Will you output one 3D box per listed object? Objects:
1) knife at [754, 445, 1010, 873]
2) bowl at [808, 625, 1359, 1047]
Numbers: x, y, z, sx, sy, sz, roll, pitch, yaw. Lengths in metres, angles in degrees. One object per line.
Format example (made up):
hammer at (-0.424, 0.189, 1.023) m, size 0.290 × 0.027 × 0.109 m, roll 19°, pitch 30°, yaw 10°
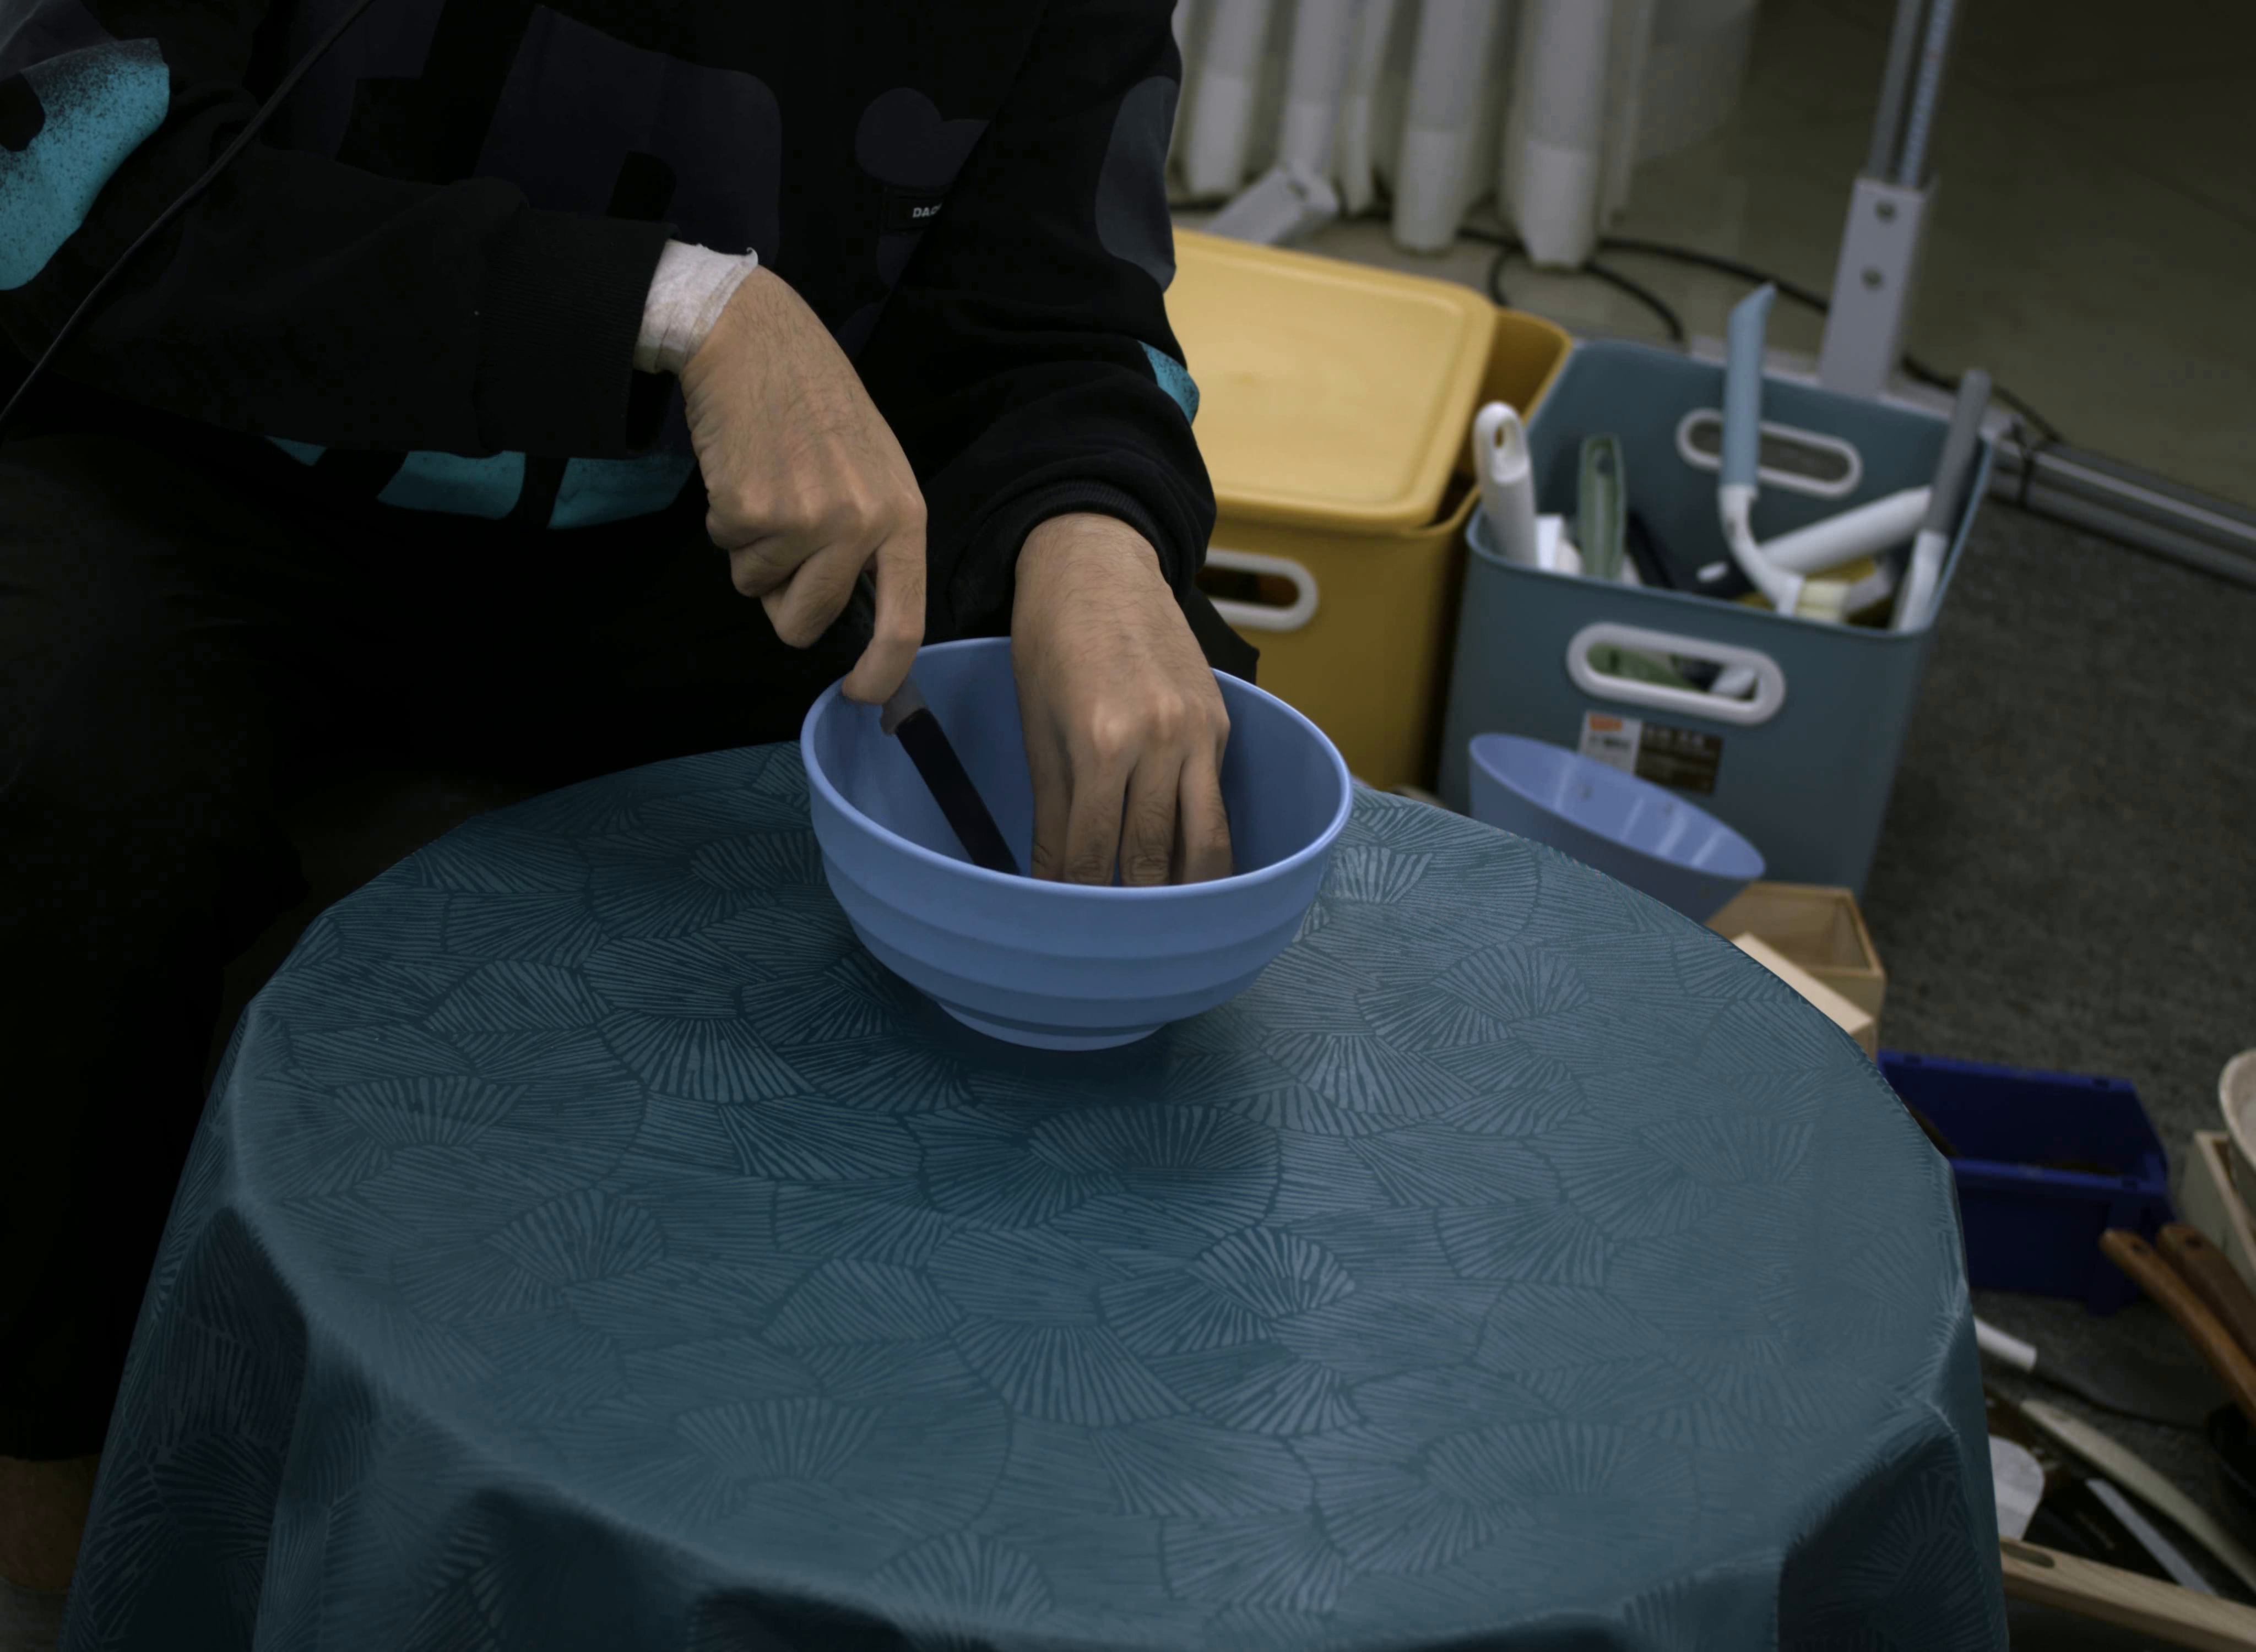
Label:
knife at (-0.076, -0.035, 1.907) m, size 0.017 × 0.026 × 0.226 m, roll -24°, pitch 84°, yaw -49°
bowl at (-0.022, 0.015, 1.900) m, size 0.196 × 0.095 × 0.198 m, roll 7°, pitch 29°, yaw -4°
